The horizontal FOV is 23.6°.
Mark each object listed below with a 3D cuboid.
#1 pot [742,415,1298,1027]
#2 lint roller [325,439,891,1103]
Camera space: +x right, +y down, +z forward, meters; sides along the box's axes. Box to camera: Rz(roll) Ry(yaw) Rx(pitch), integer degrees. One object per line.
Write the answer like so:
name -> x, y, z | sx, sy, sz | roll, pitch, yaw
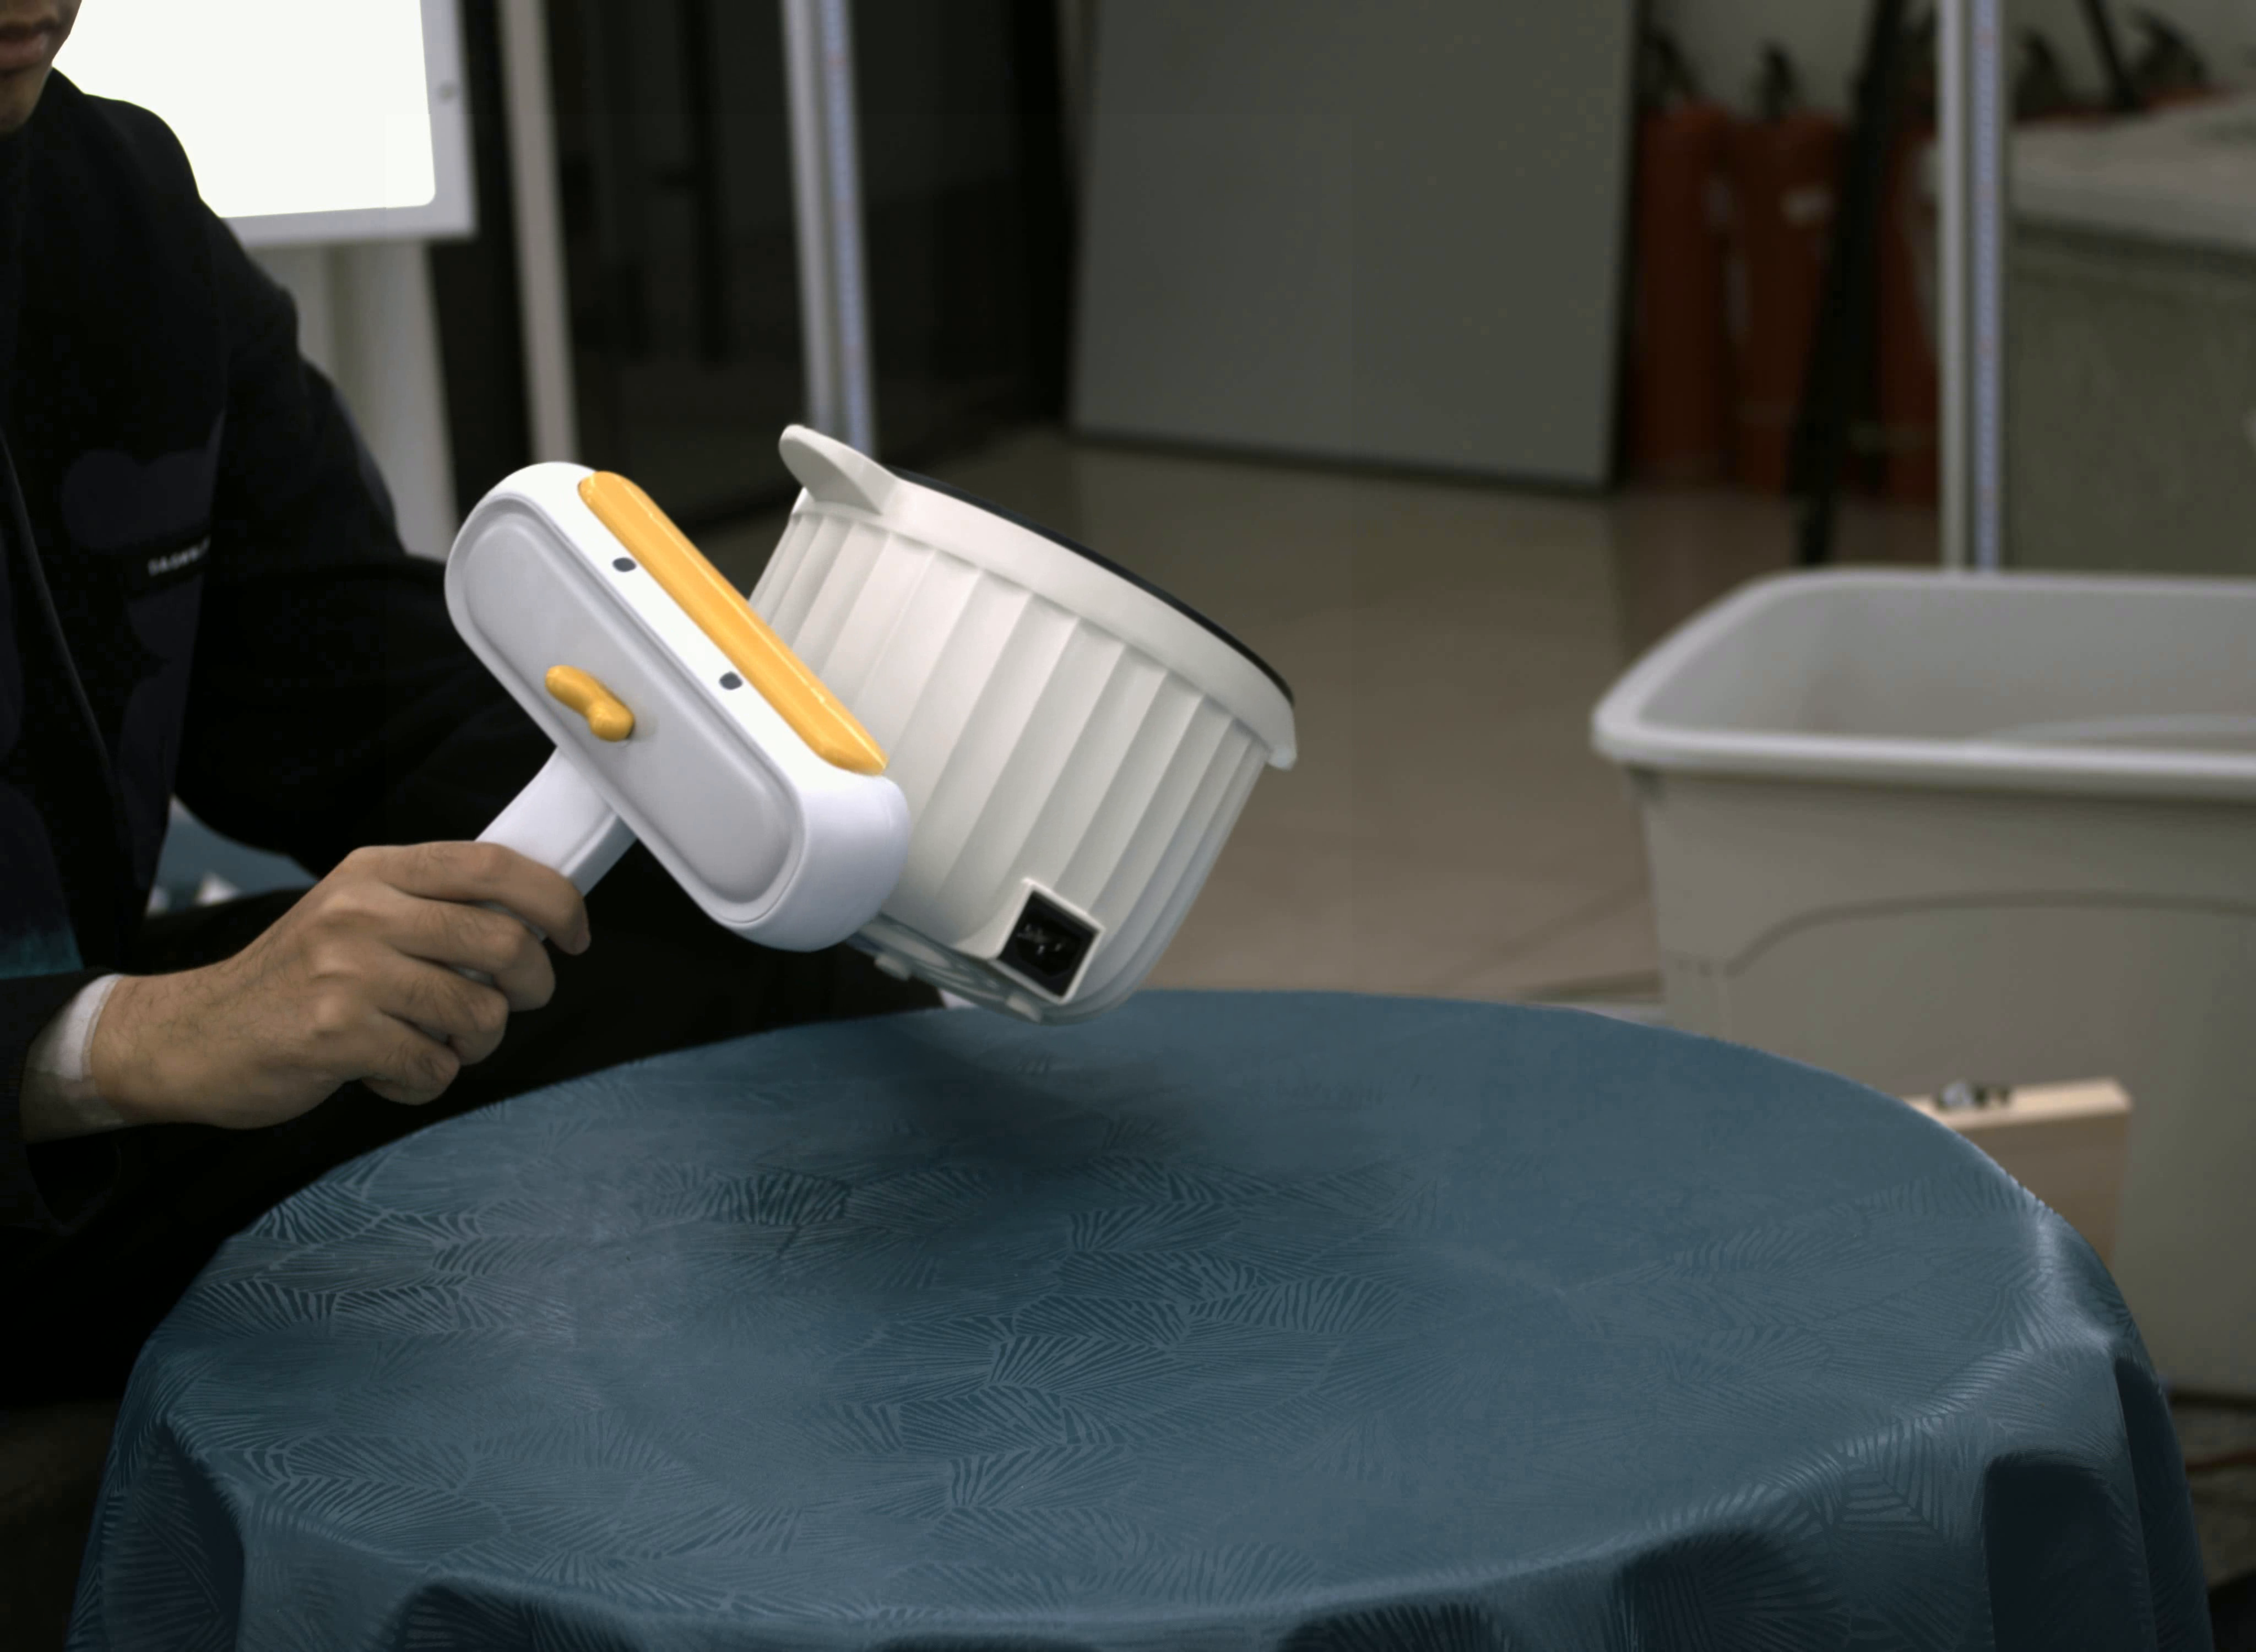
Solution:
pot -> -0.056, -0.024, 1.798 | 0.236, 0.143, 0.192 | 35, -10, -36
lint roller -> -0.182, 0.003, 1.689 | 0.194, 0.194, 0.073 | 41, 19, 26
